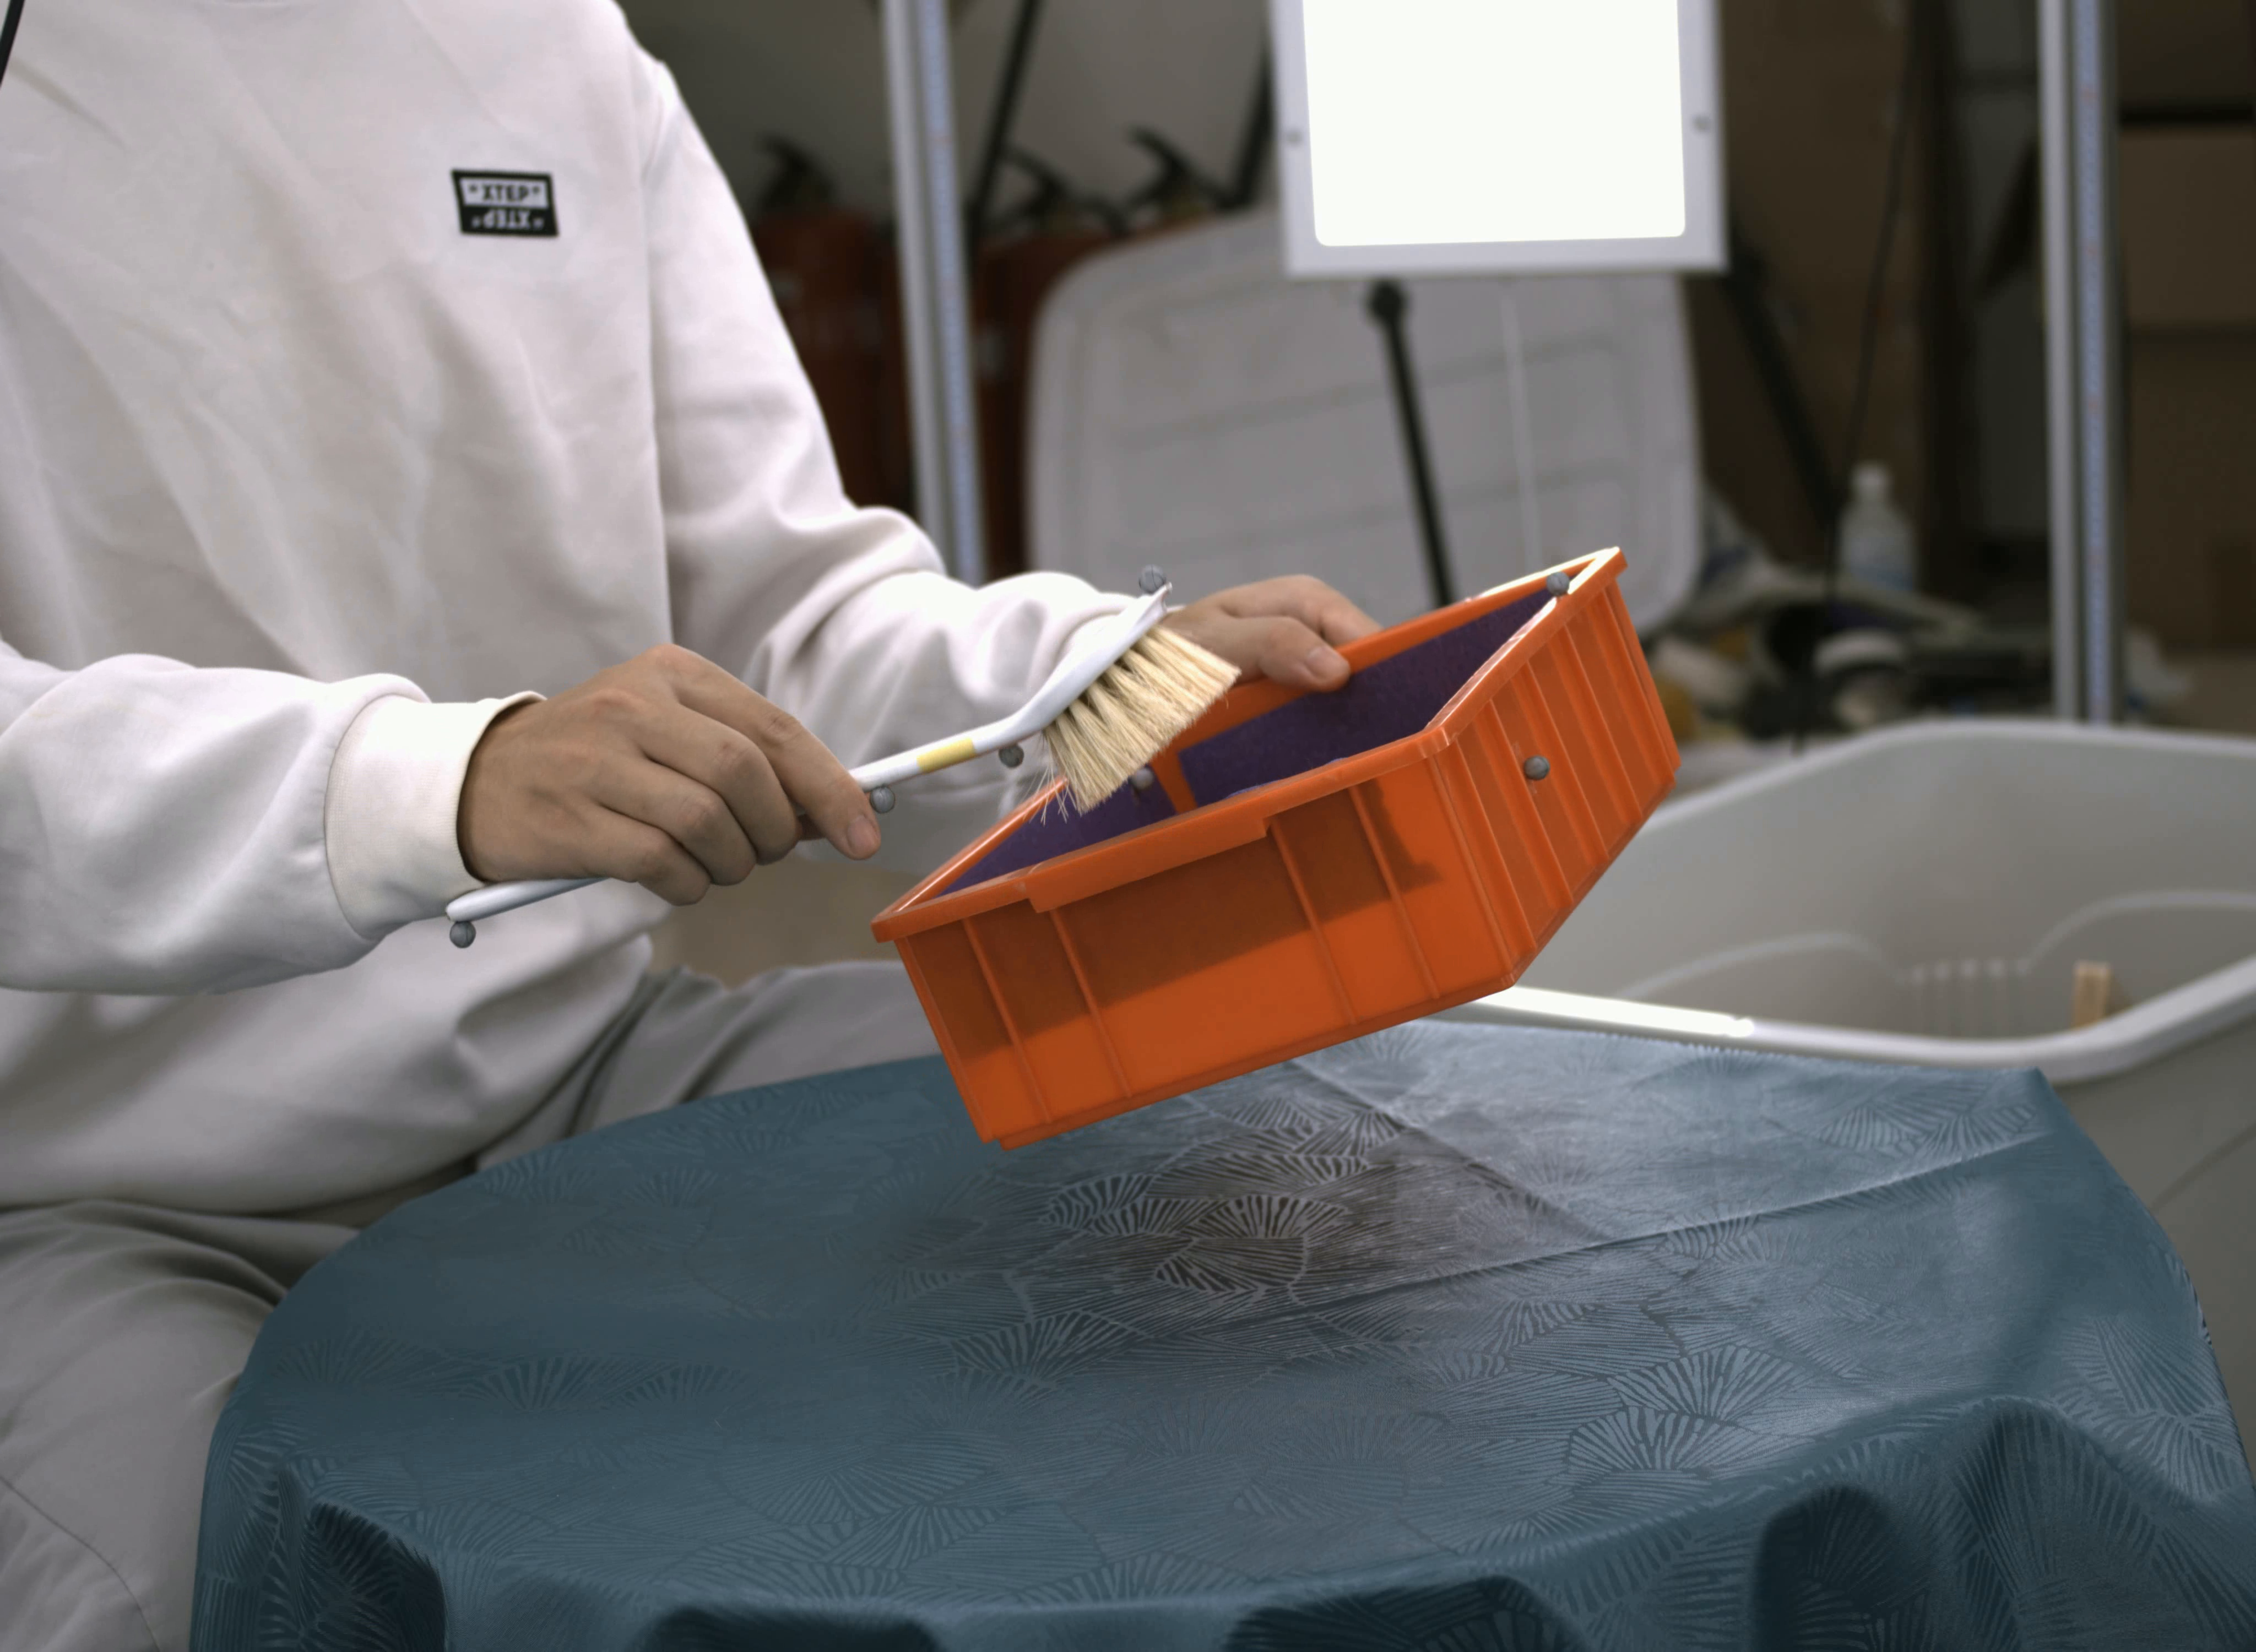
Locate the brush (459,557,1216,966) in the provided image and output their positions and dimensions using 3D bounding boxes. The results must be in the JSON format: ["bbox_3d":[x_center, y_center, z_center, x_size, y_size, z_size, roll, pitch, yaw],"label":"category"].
[{"bbox_3d":[-0.090,0.000,1.765,0.268,0.056,0.068,-29,-11,10],"label":"brush"}]

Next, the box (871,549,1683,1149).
[{"bbox_3d":[0.062,0.007,1.865,0.210,0.096,0.298,-20,6,23],"label":"box"}]
